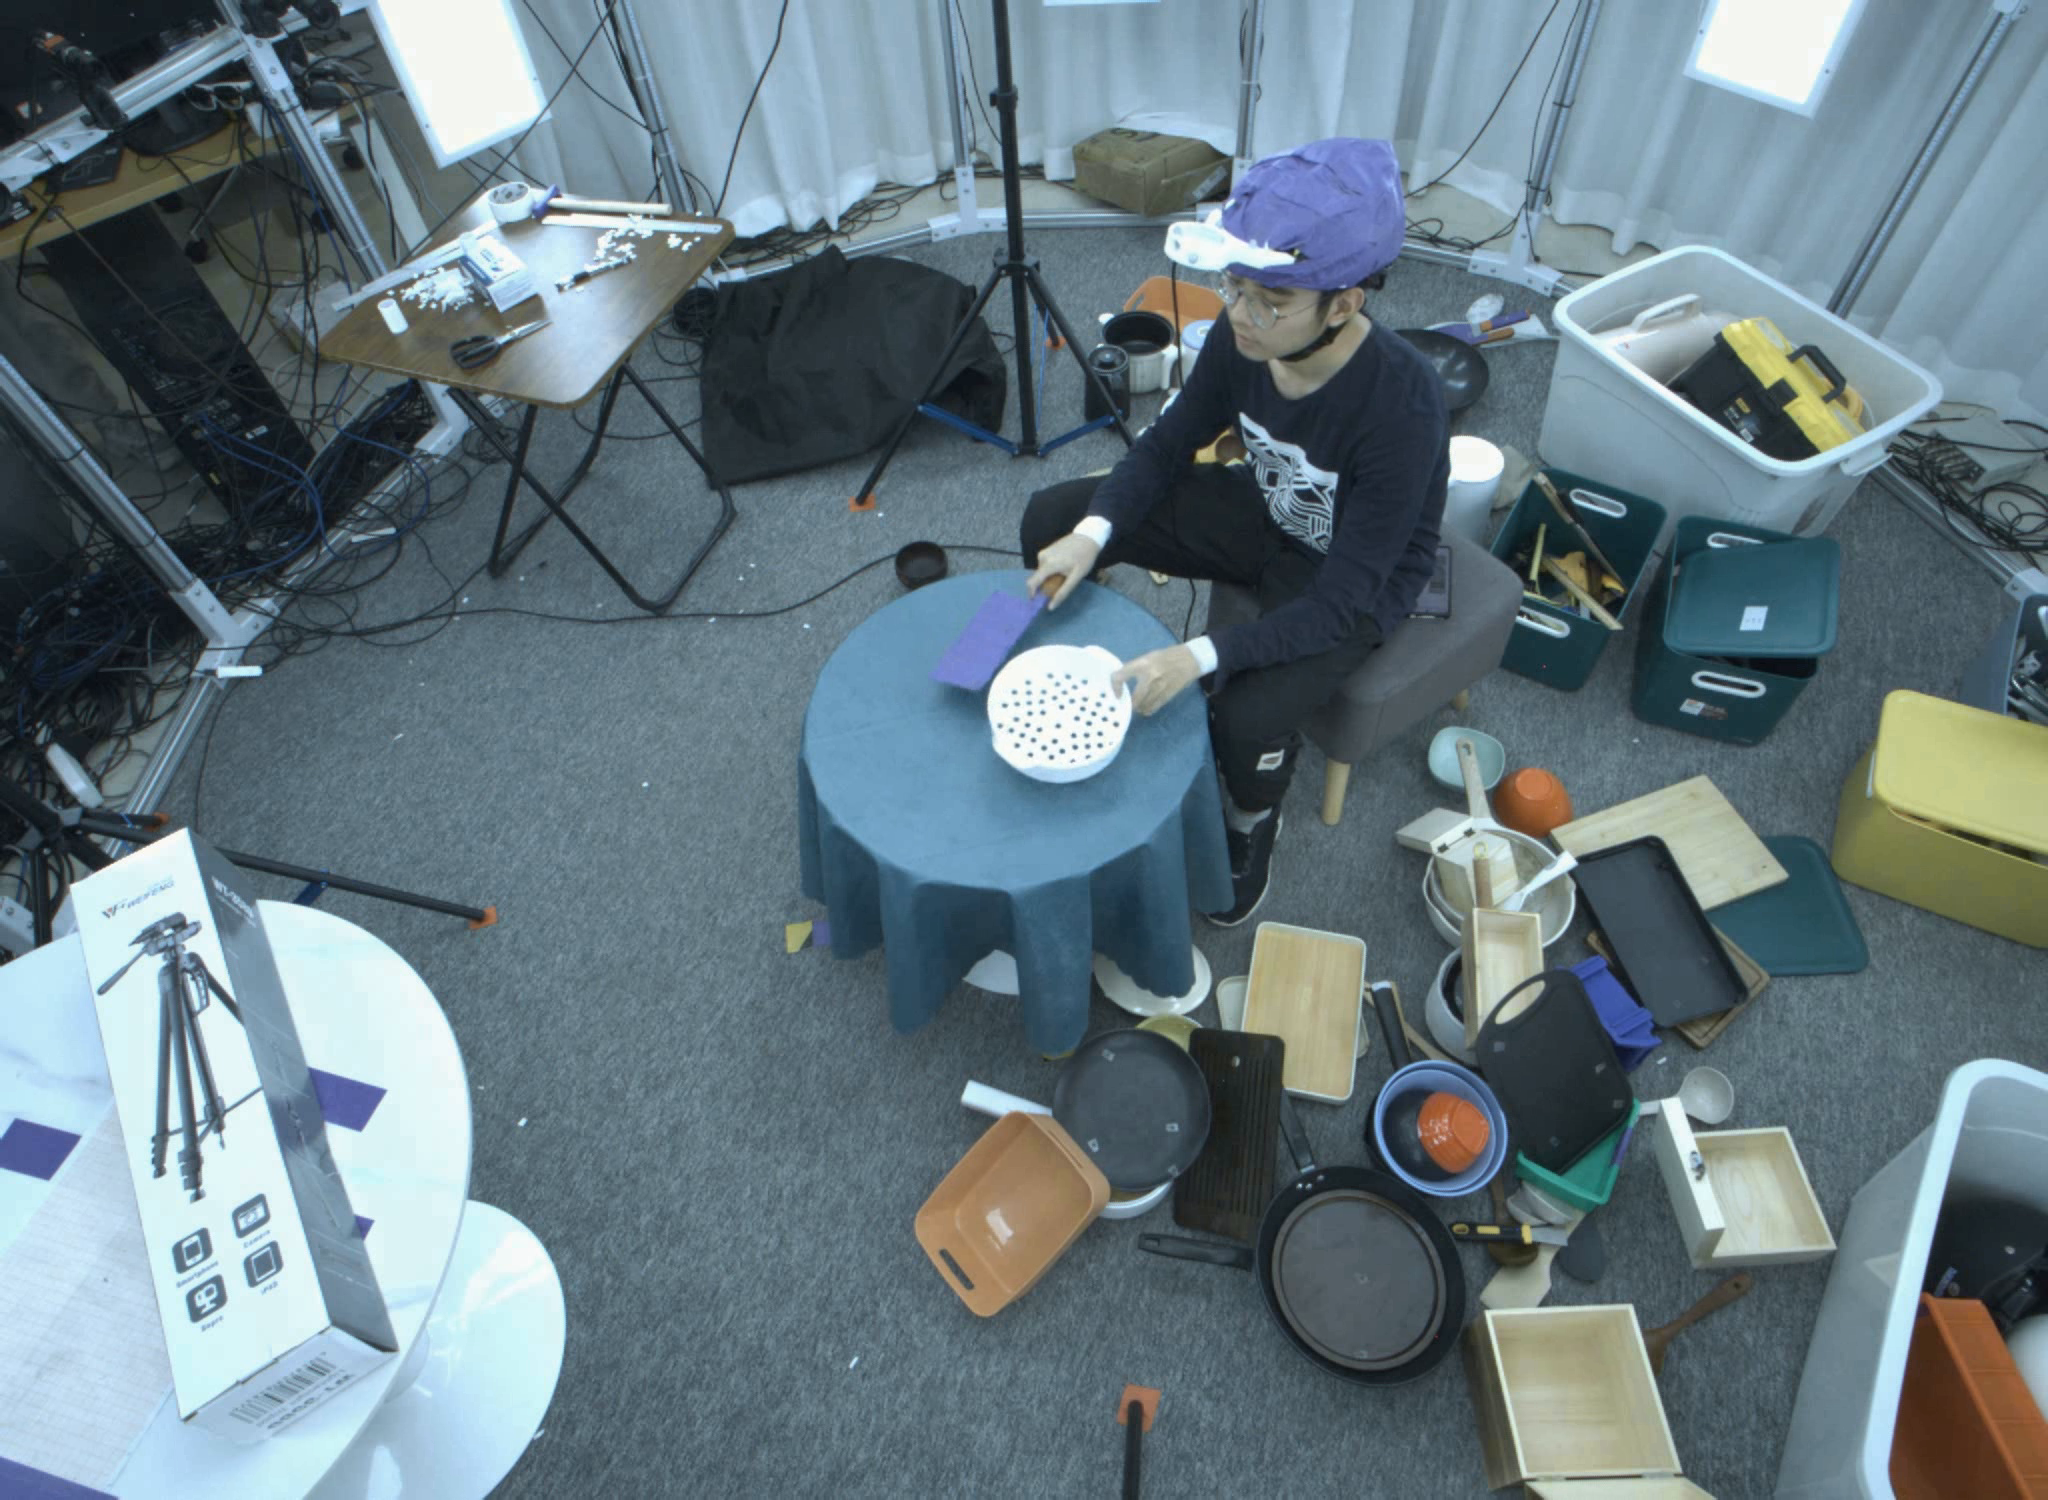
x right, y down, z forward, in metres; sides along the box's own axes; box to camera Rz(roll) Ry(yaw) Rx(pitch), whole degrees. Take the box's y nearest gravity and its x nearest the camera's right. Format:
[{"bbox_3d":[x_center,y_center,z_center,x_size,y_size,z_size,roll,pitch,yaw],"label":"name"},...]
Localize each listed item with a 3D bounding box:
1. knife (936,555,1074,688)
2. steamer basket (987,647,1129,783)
[{"bbox_3d":[-0.030,-0.207,1.881,0.102,0.032,0.316,17,49,21],"label":"knife"},{"bbox_3d":[0.046,-0.048,1.757,0.200,0.069,0.232,39,64,14],"label":"steamer basket"}]
